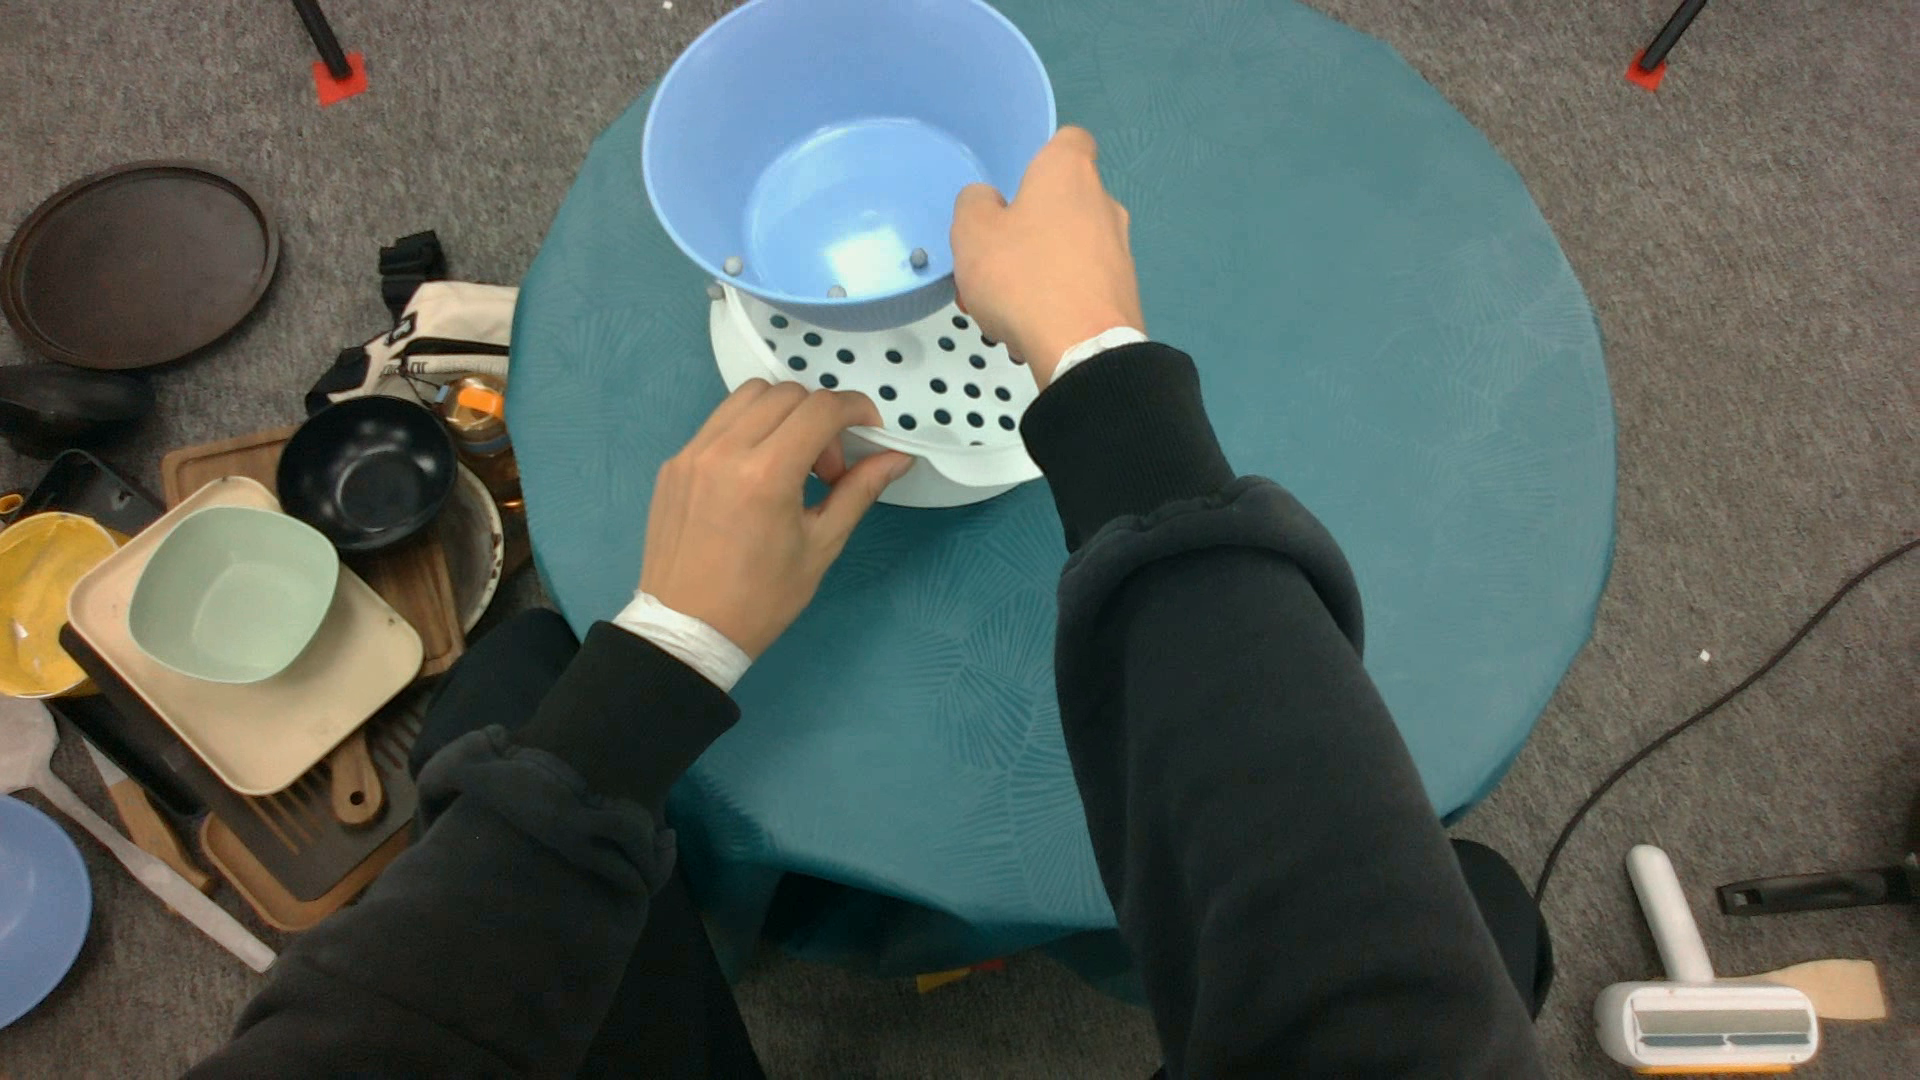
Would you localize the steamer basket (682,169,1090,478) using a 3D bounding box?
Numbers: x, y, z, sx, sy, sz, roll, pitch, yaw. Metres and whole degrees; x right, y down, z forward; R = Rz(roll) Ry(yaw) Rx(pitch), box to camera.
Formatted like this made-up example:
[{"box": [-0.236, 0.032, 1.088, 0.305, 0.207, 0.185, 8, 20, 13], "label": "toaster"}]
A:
[{"box": [-0.039, -0.124, 0.691, 0.202, 0.069, 0.231, -12, 64, -27], "label": "steamer basket"}]

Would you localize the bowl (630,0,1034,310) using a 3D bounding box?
[{"box": [-0.052, -0.169, 0.615, 0.176, 0.070, 0.176, -2, 66, 5], "label": "bowl"}]
